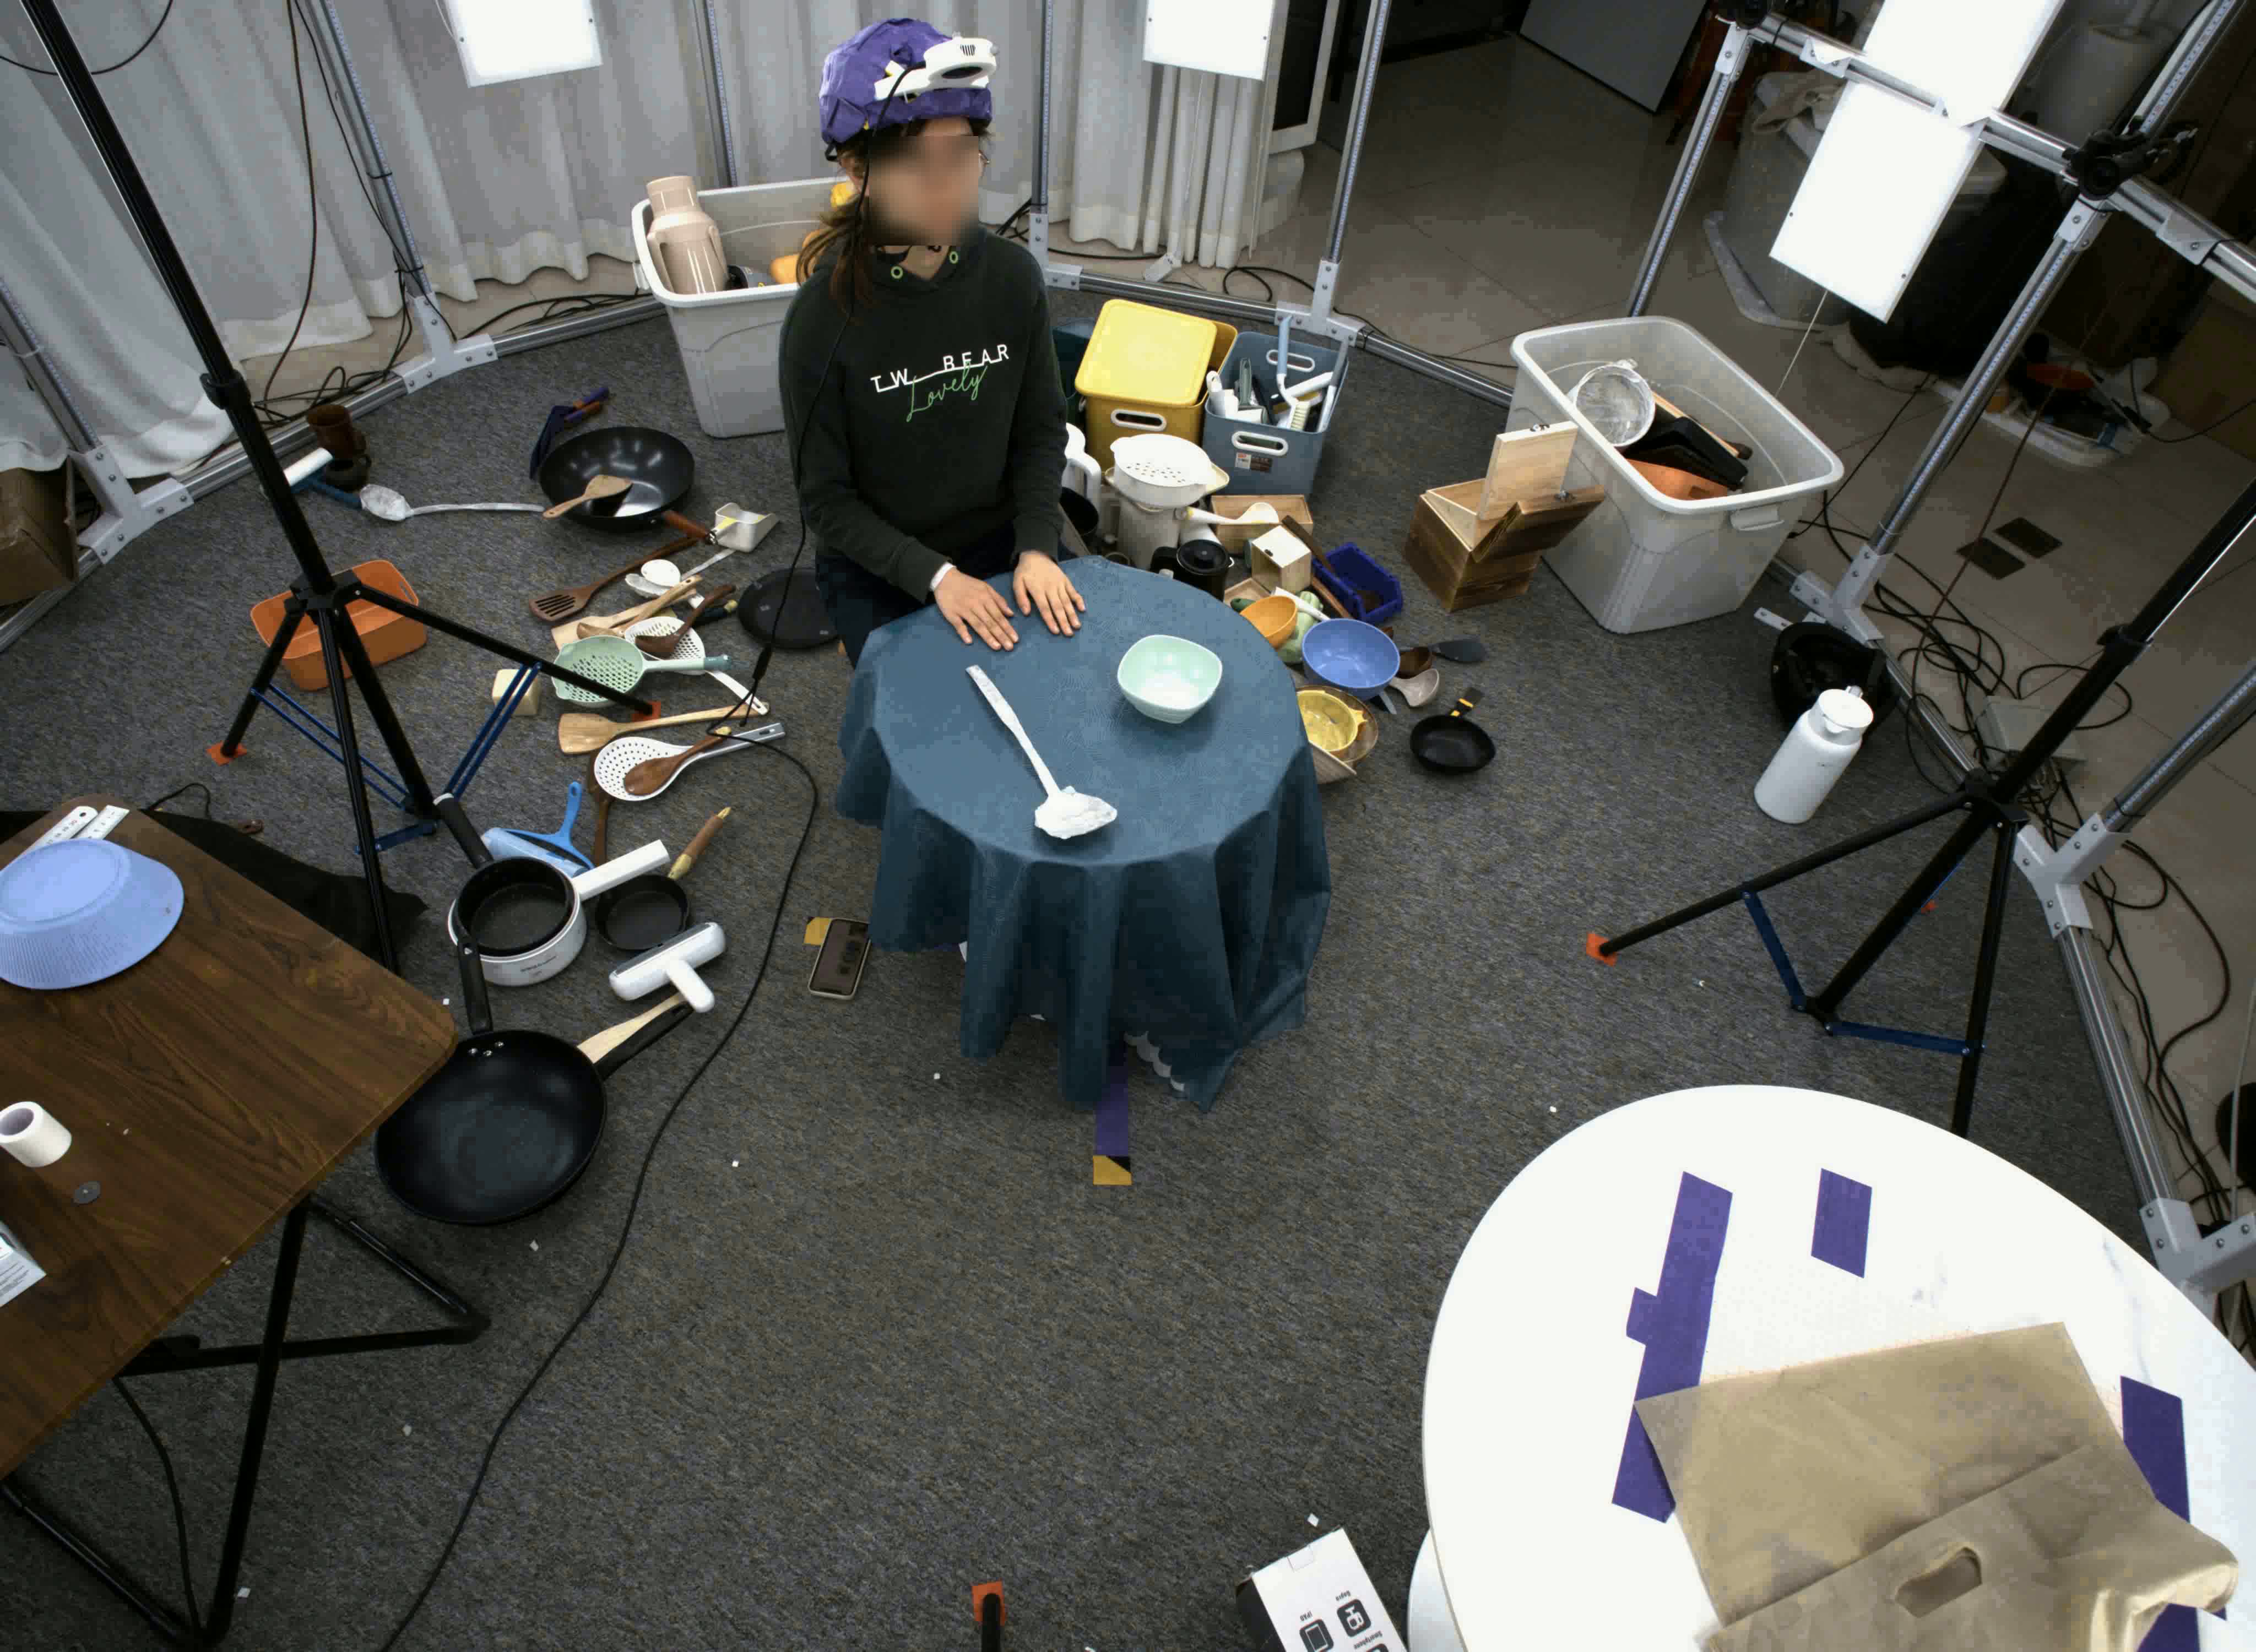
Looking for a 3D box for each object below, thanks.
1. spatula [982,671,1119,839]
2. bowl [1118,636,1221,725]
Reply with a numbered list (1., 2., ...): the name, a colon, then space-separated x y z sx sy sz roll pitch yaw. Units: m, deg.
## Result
1. spatula: -0.129 -0.108 1.744 0.099 0.043 0.373 -20 53 -18
2. bowl: 0.057 -0.198 1.825 0.151 0.057 0.155 3 51 -4
